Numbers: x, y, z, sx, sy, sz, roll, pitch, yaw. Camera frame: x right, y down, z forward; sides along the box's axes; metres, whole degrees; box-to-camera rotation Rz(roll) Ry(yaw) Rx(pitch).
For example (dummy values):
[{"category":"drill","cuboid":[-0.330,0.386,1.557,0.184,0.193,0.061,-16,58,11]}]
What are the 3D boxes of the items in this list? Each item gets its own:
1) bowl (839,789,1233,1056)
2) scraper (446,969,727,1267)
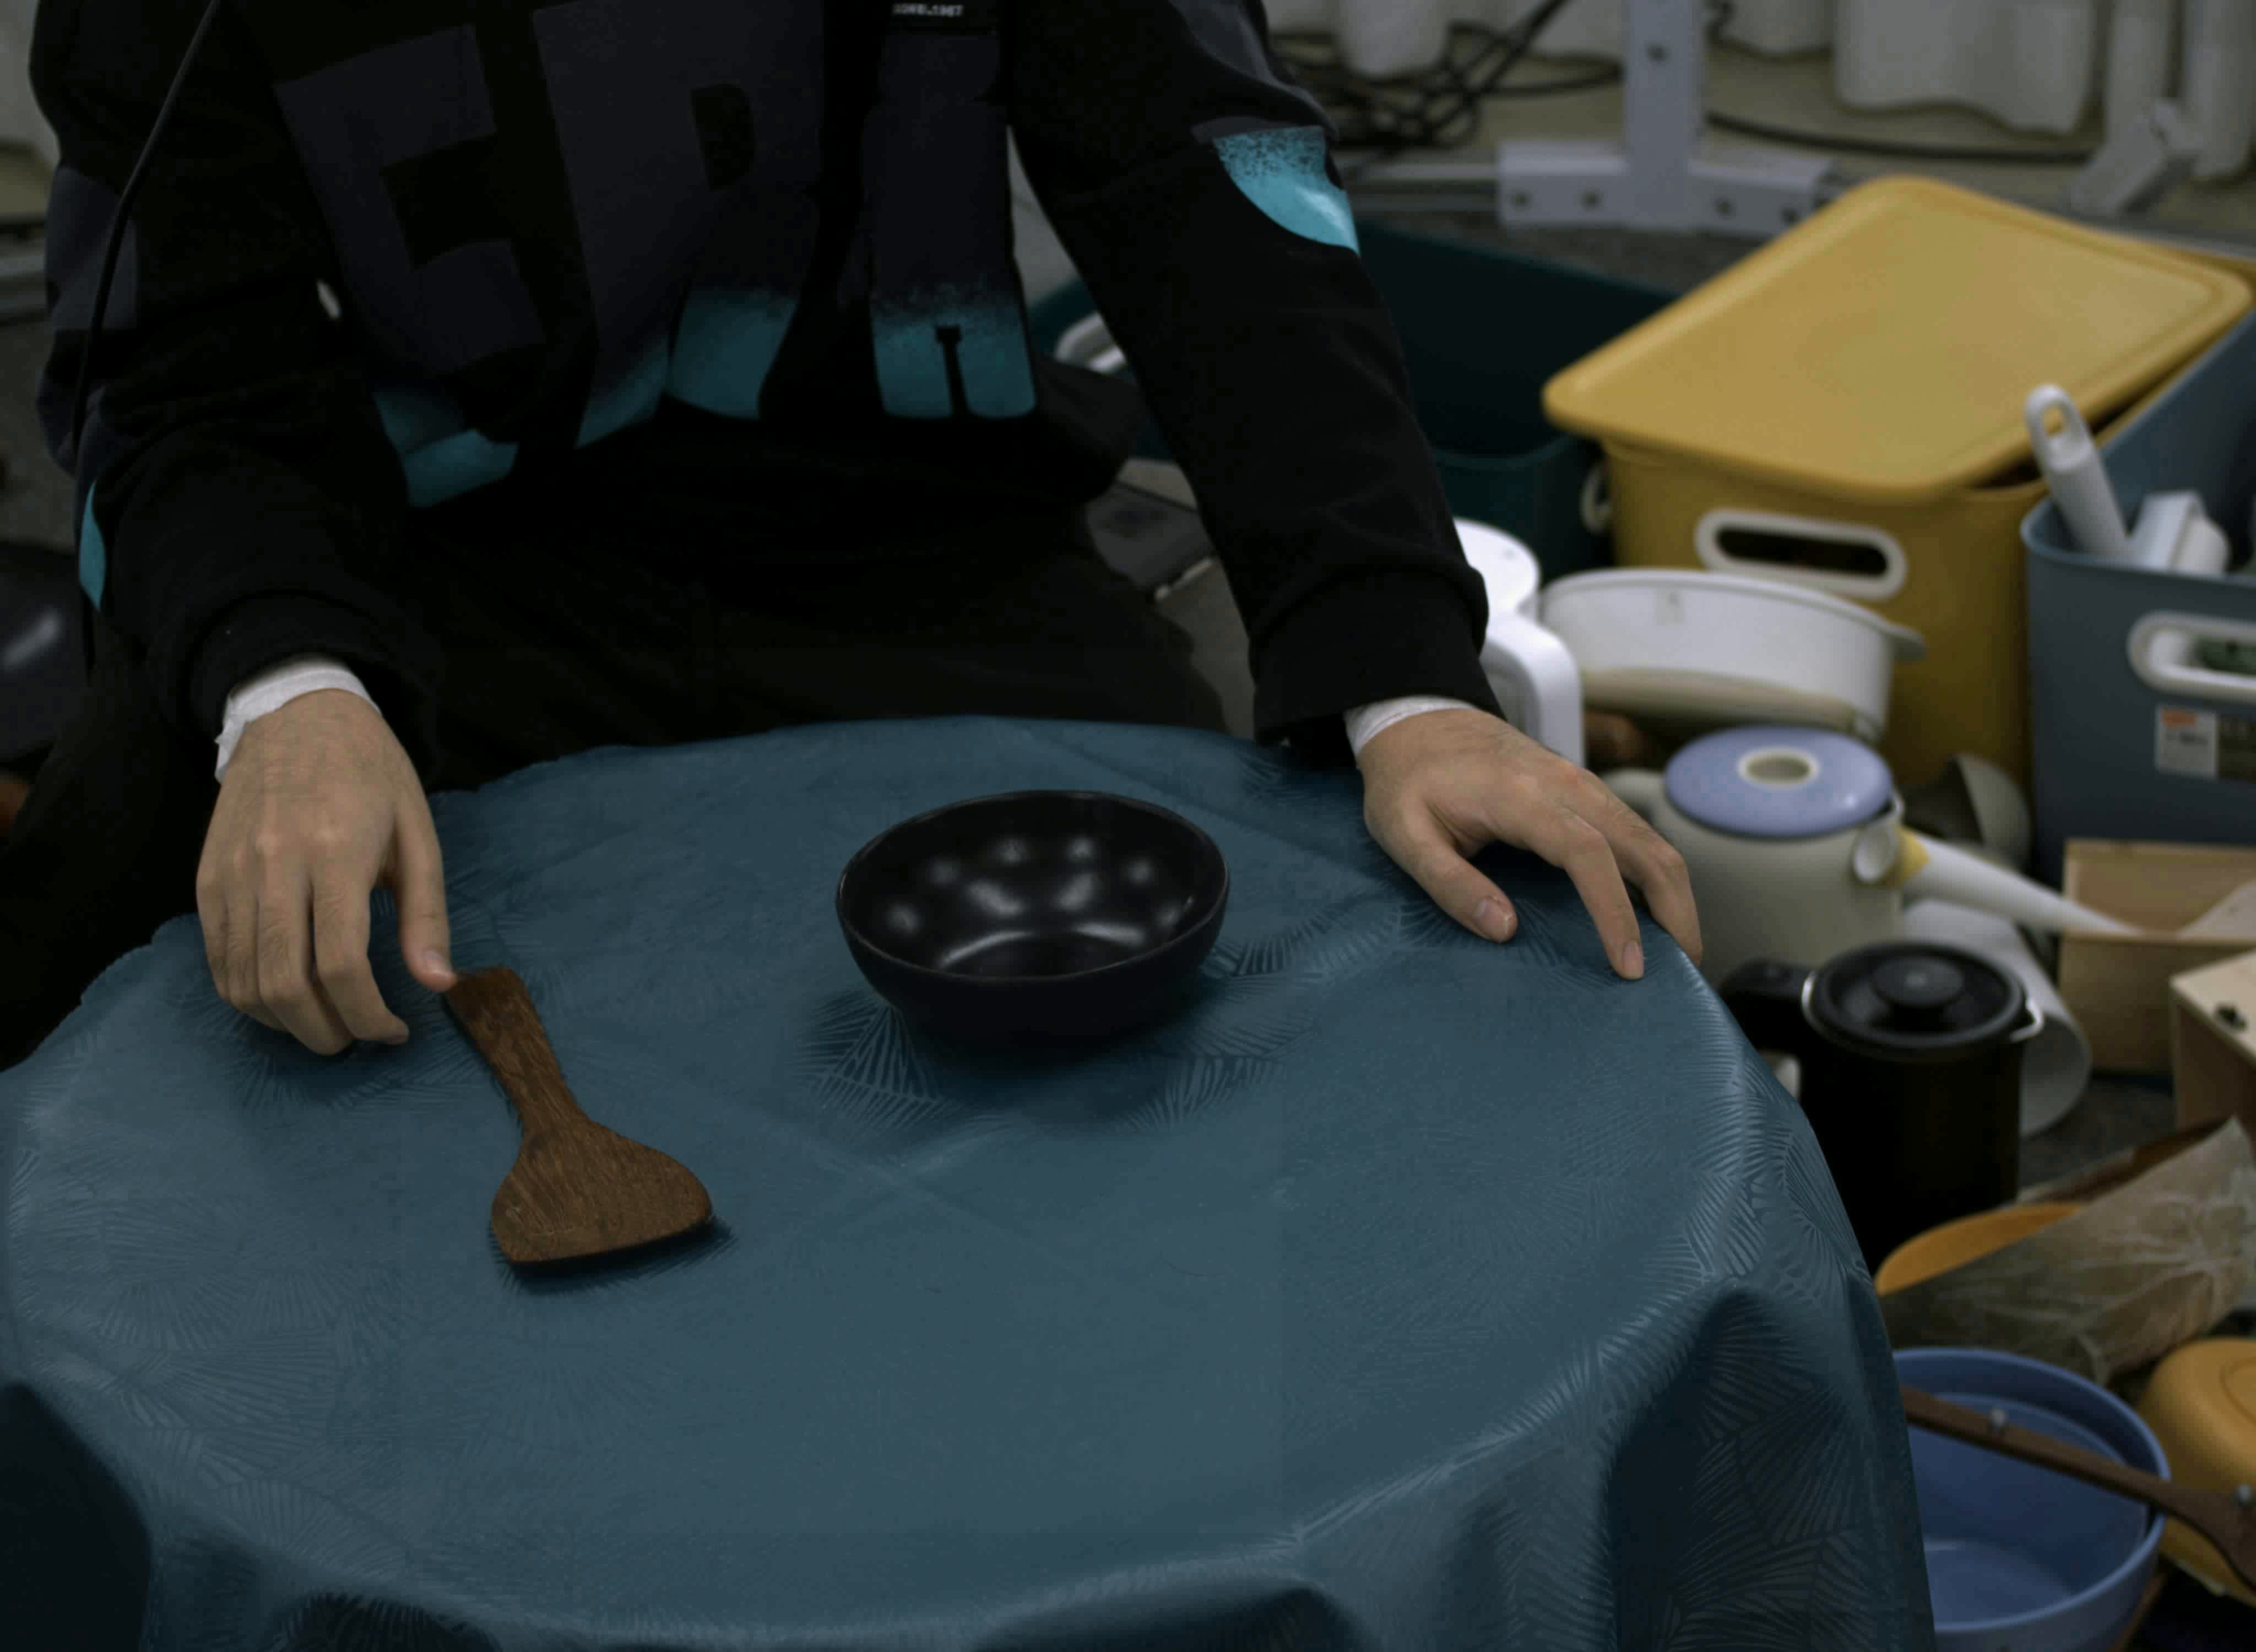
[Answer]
[{"category":"bowl","cuboid":[-0.030,0.042,1.967,0.139,0.049,0.142,-4,28,3]},{"category":"scraper","cuboid":[-0.197,0.098,1.918,0.076,0.011,0.213,-10,28,-16]}]
